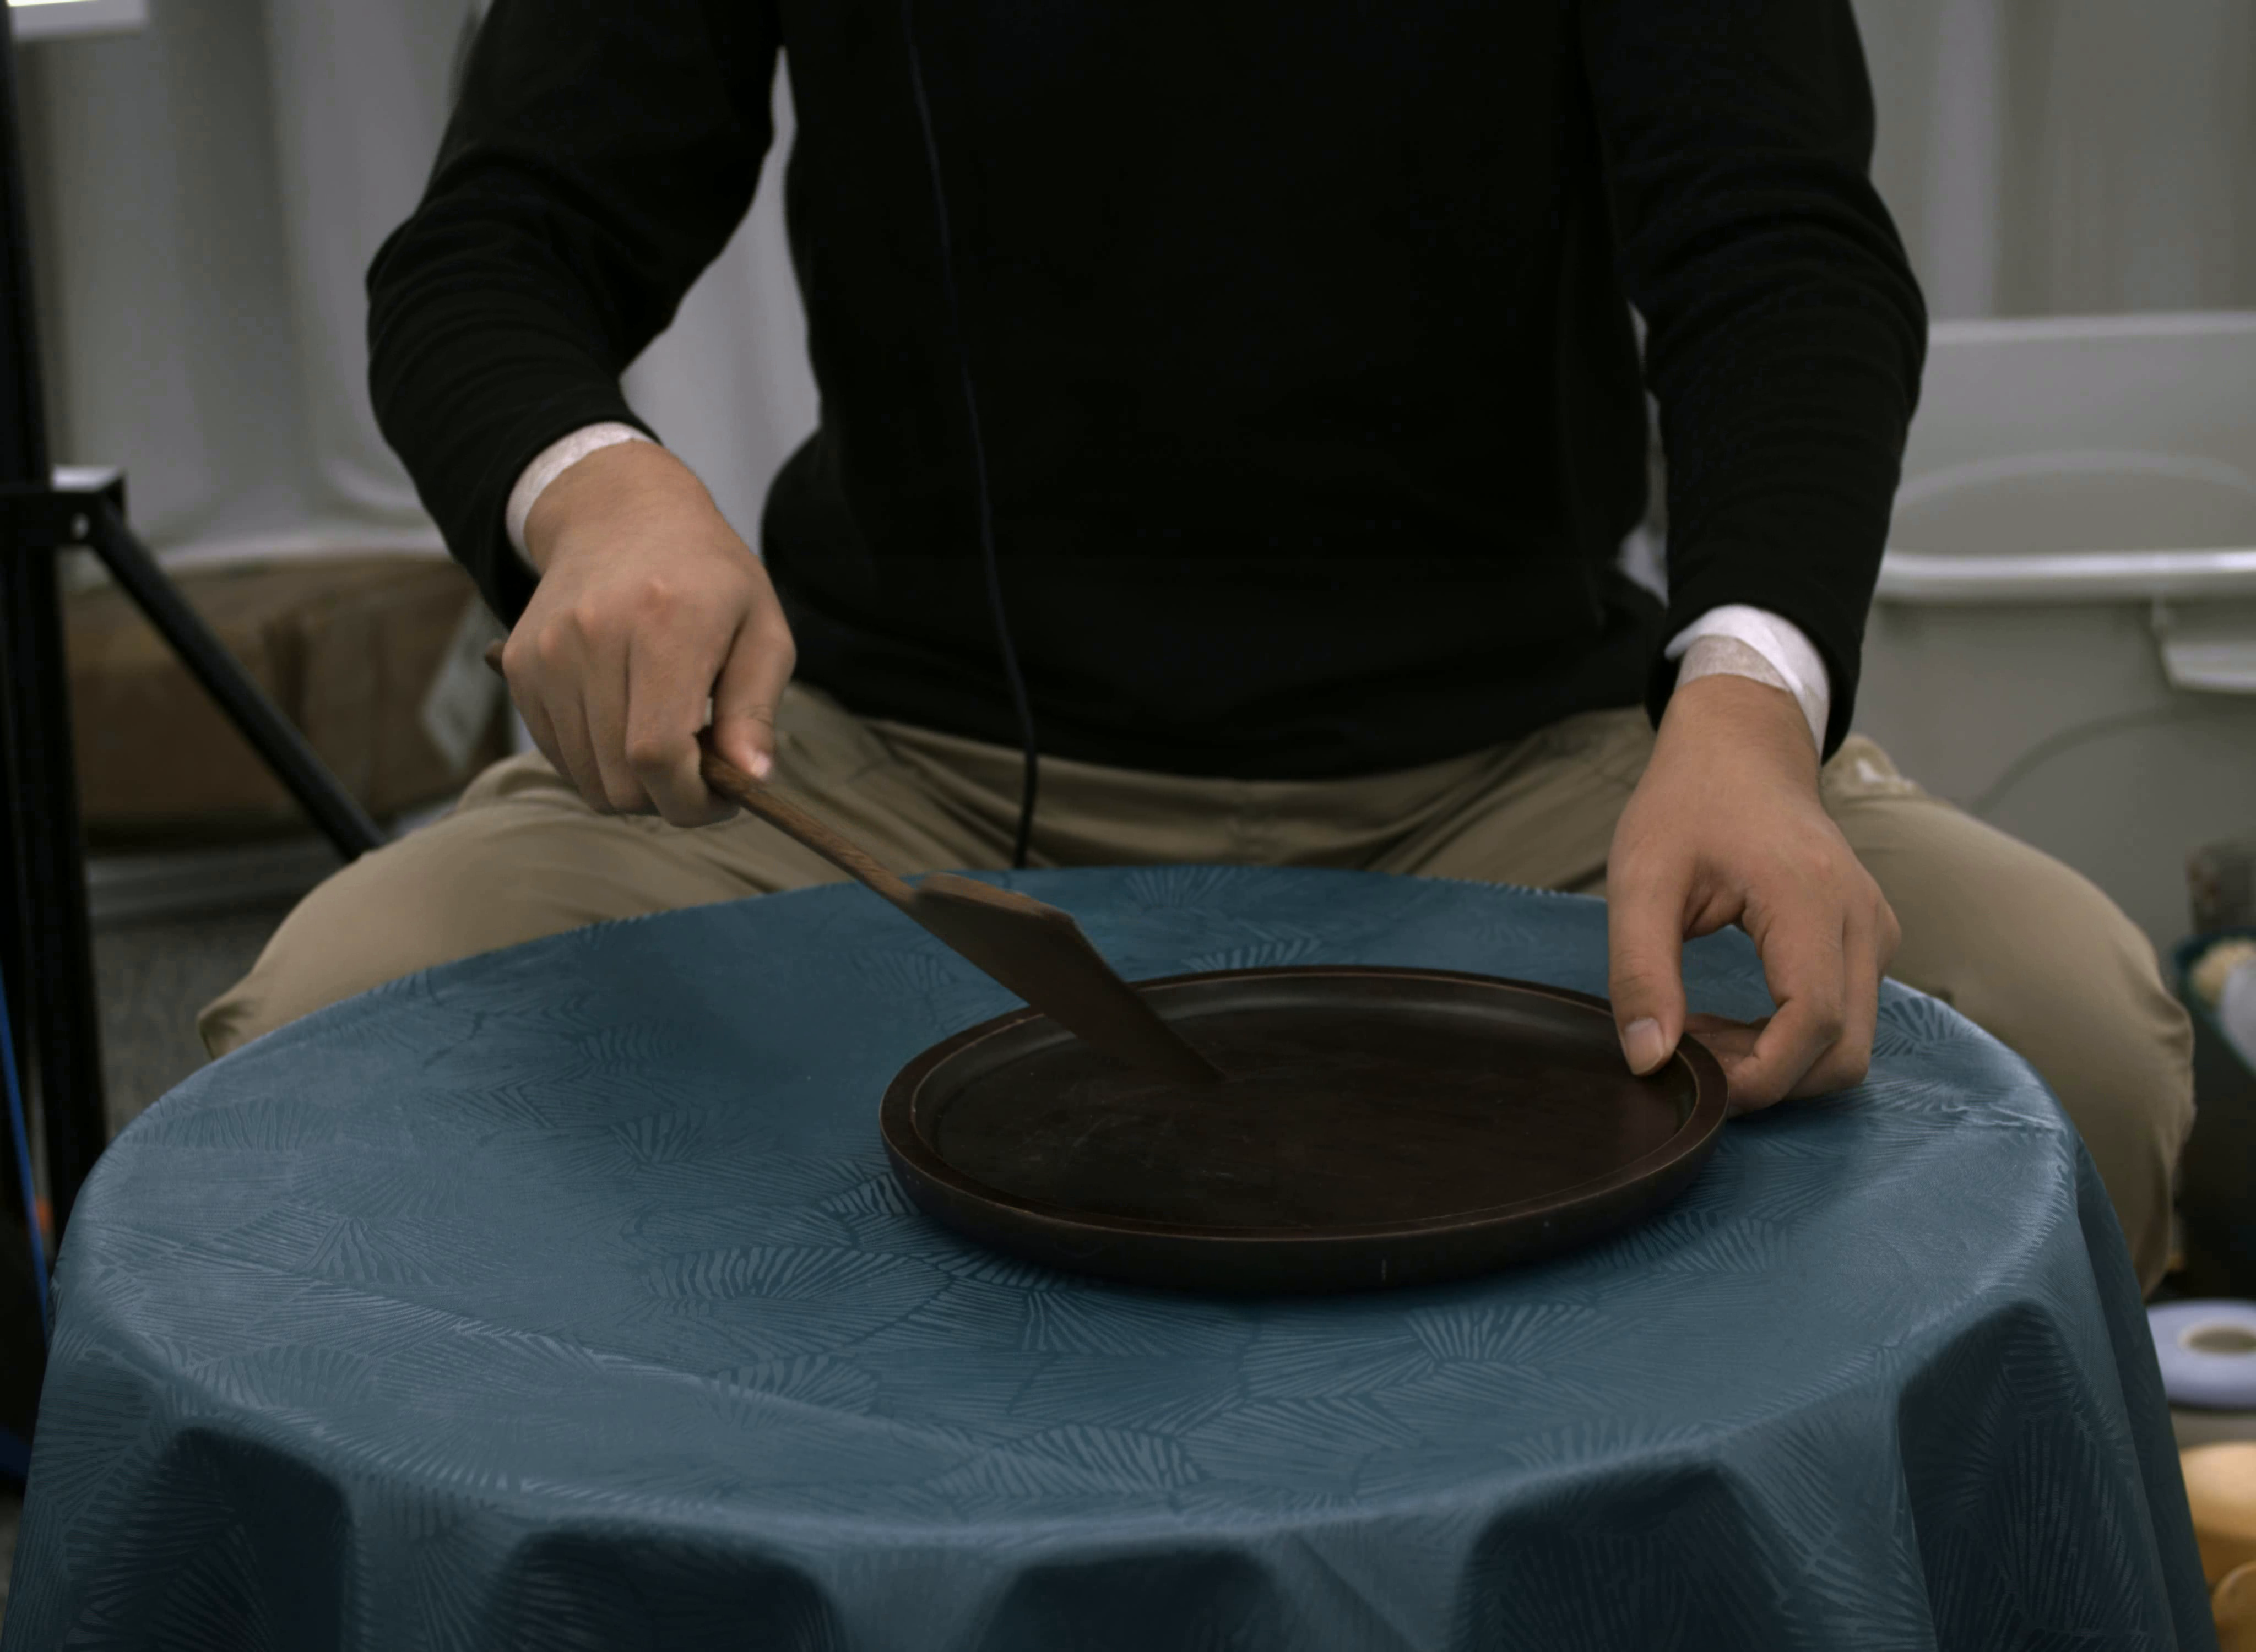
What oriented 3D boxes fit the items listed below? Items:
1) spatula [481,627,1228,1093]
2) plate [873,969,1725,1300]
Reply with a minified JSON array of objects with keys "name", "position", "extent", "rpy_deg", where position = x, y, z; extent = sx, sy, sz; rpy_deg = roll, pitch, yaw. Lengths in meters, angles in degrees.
[{"name":"spatula","position":[-0.100,-0.002,1.623],"extent":[0.016,0.094,0.395],"rpy_deg":[-51,38,-9]},{"name":"plate","position":[0.051,0.089,1.573],"extent":[0.253,0.029,0.256],"rpy_deg":[-4,15,0]}]
